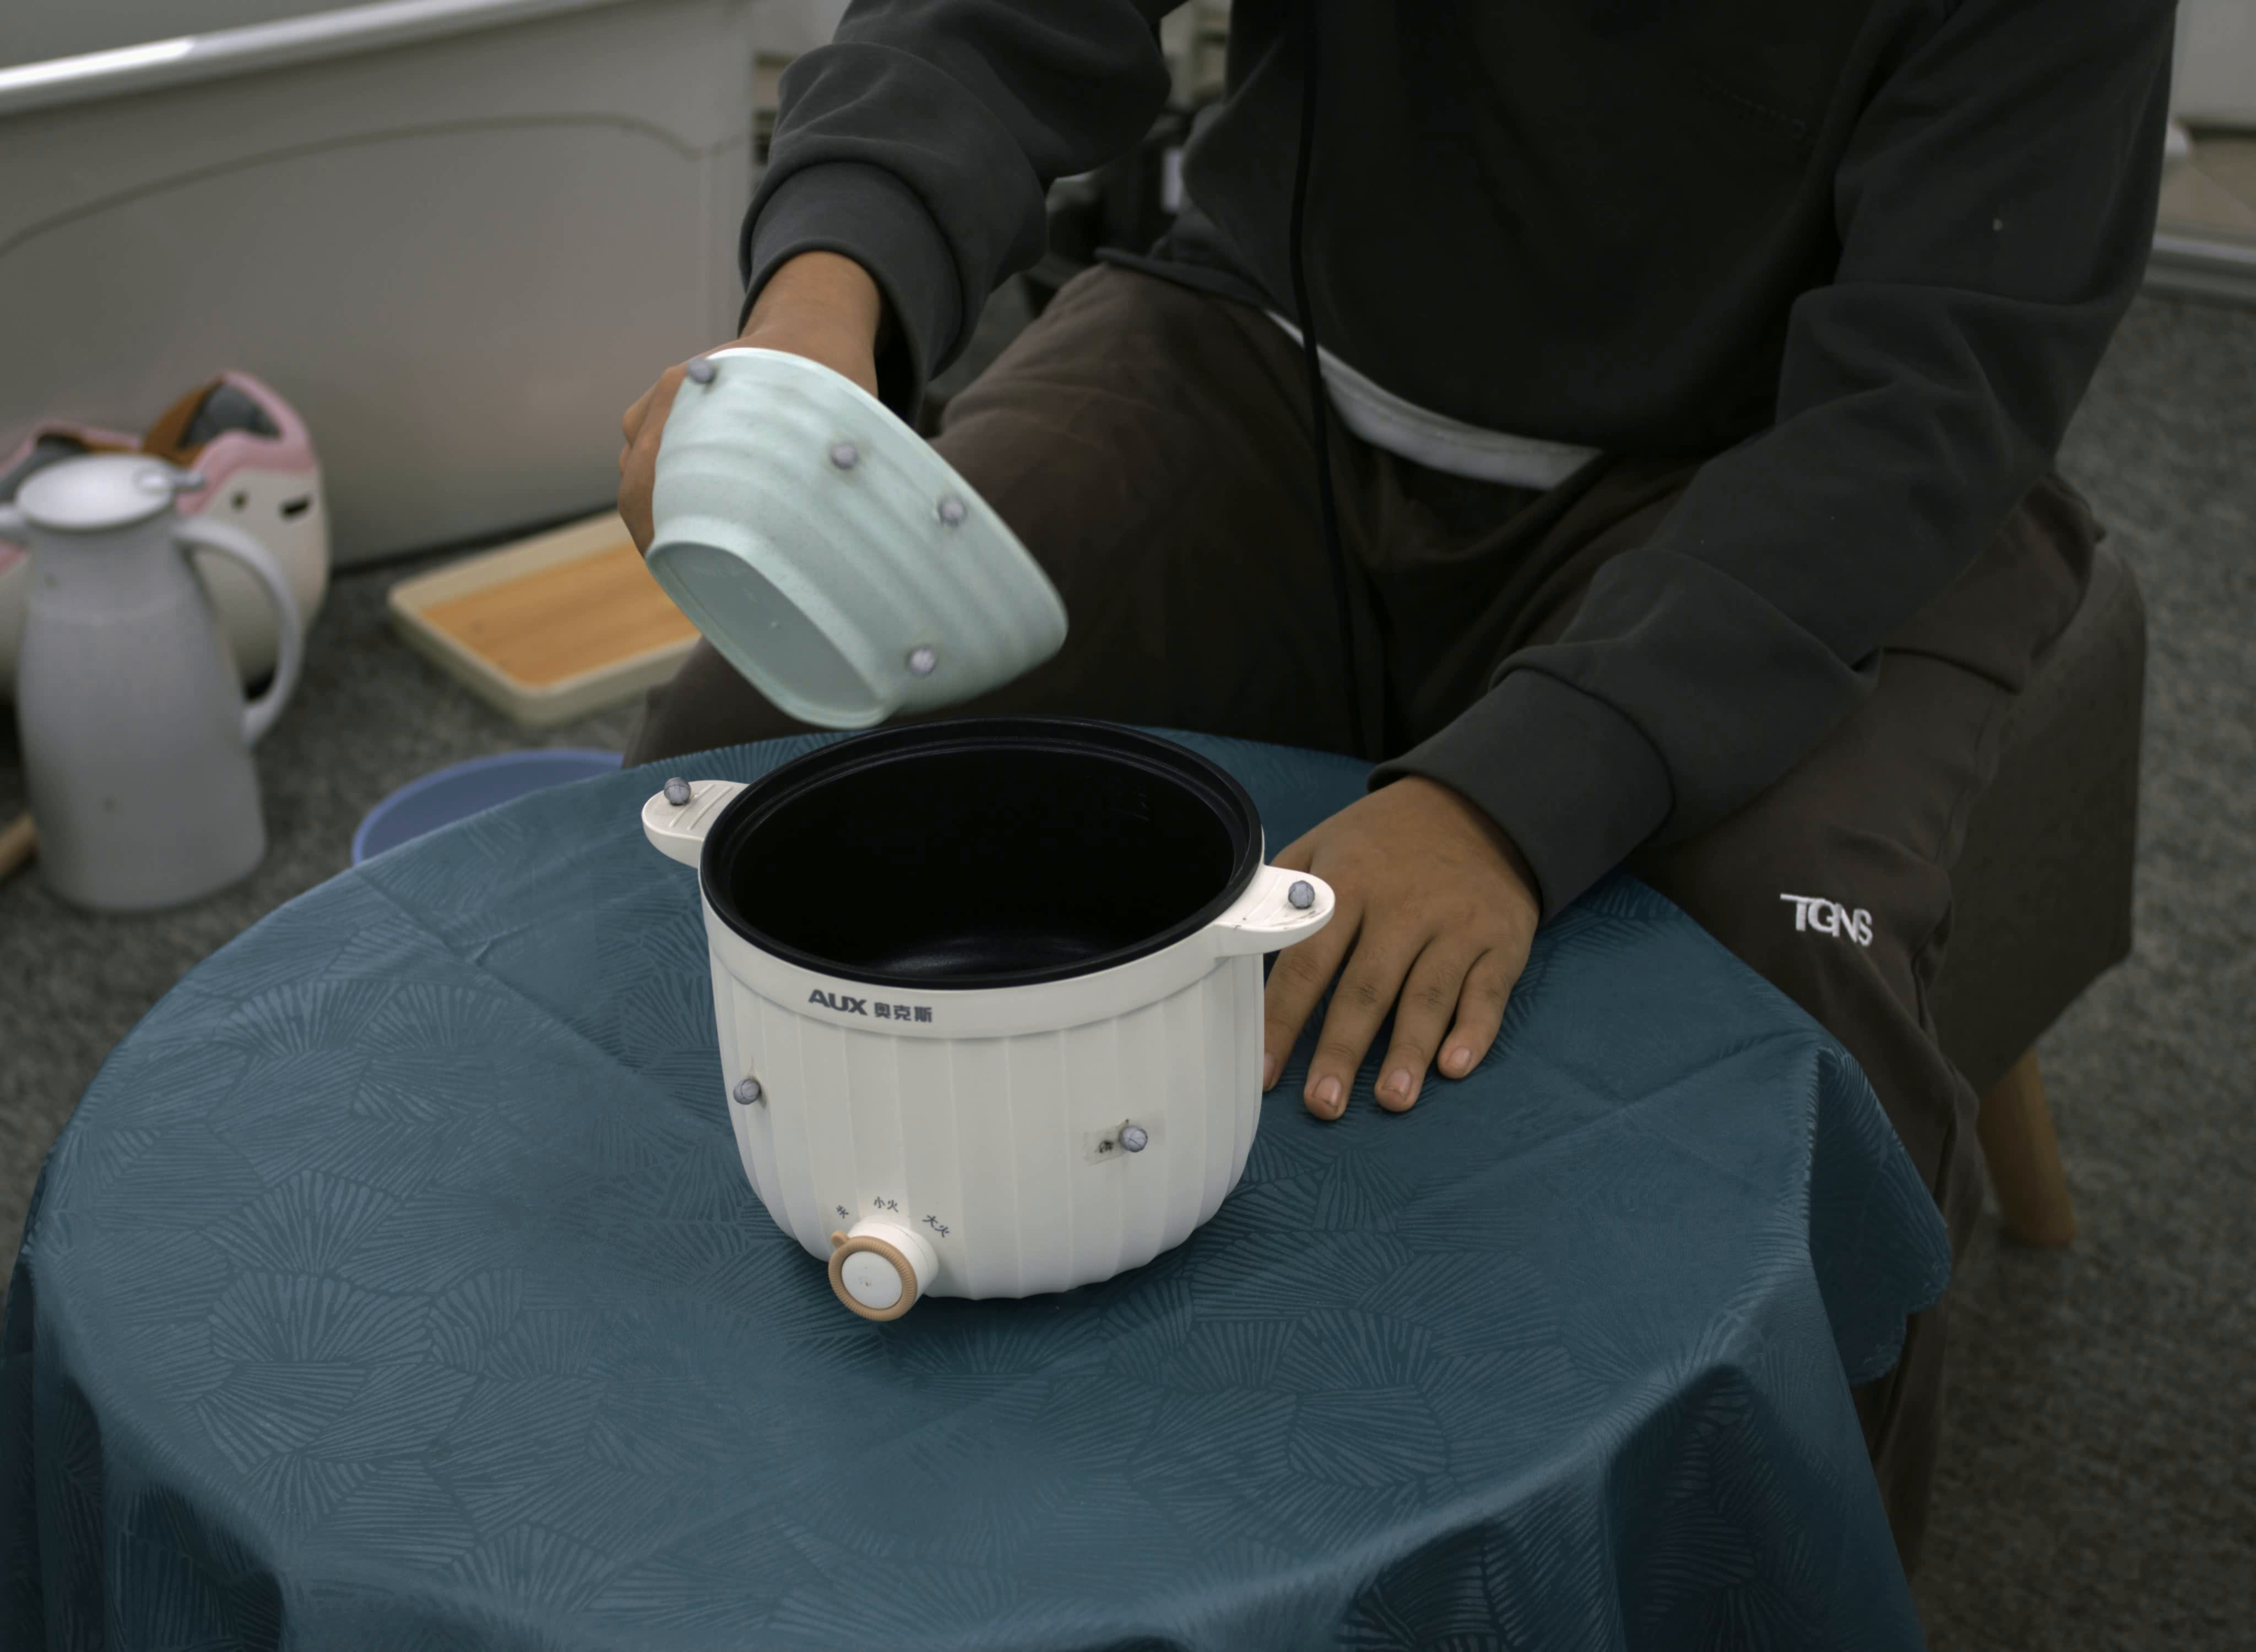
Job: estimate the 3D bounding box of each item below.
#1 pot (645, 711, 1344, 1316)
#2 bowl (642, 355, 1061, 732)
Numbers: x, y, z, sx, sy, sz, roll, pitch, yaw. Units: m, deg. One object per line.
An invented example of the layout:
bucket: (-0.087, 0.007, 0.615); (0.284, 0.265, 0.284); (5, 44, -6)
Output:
pot: (-0.043, 0.065, 1.828); (0.238, 0.141, 0.193); (6, 25, 20)
bowl: (-0.097, -0.079, 1.755); (0.151, 0.150, 0.059); (22, 66, 39)
